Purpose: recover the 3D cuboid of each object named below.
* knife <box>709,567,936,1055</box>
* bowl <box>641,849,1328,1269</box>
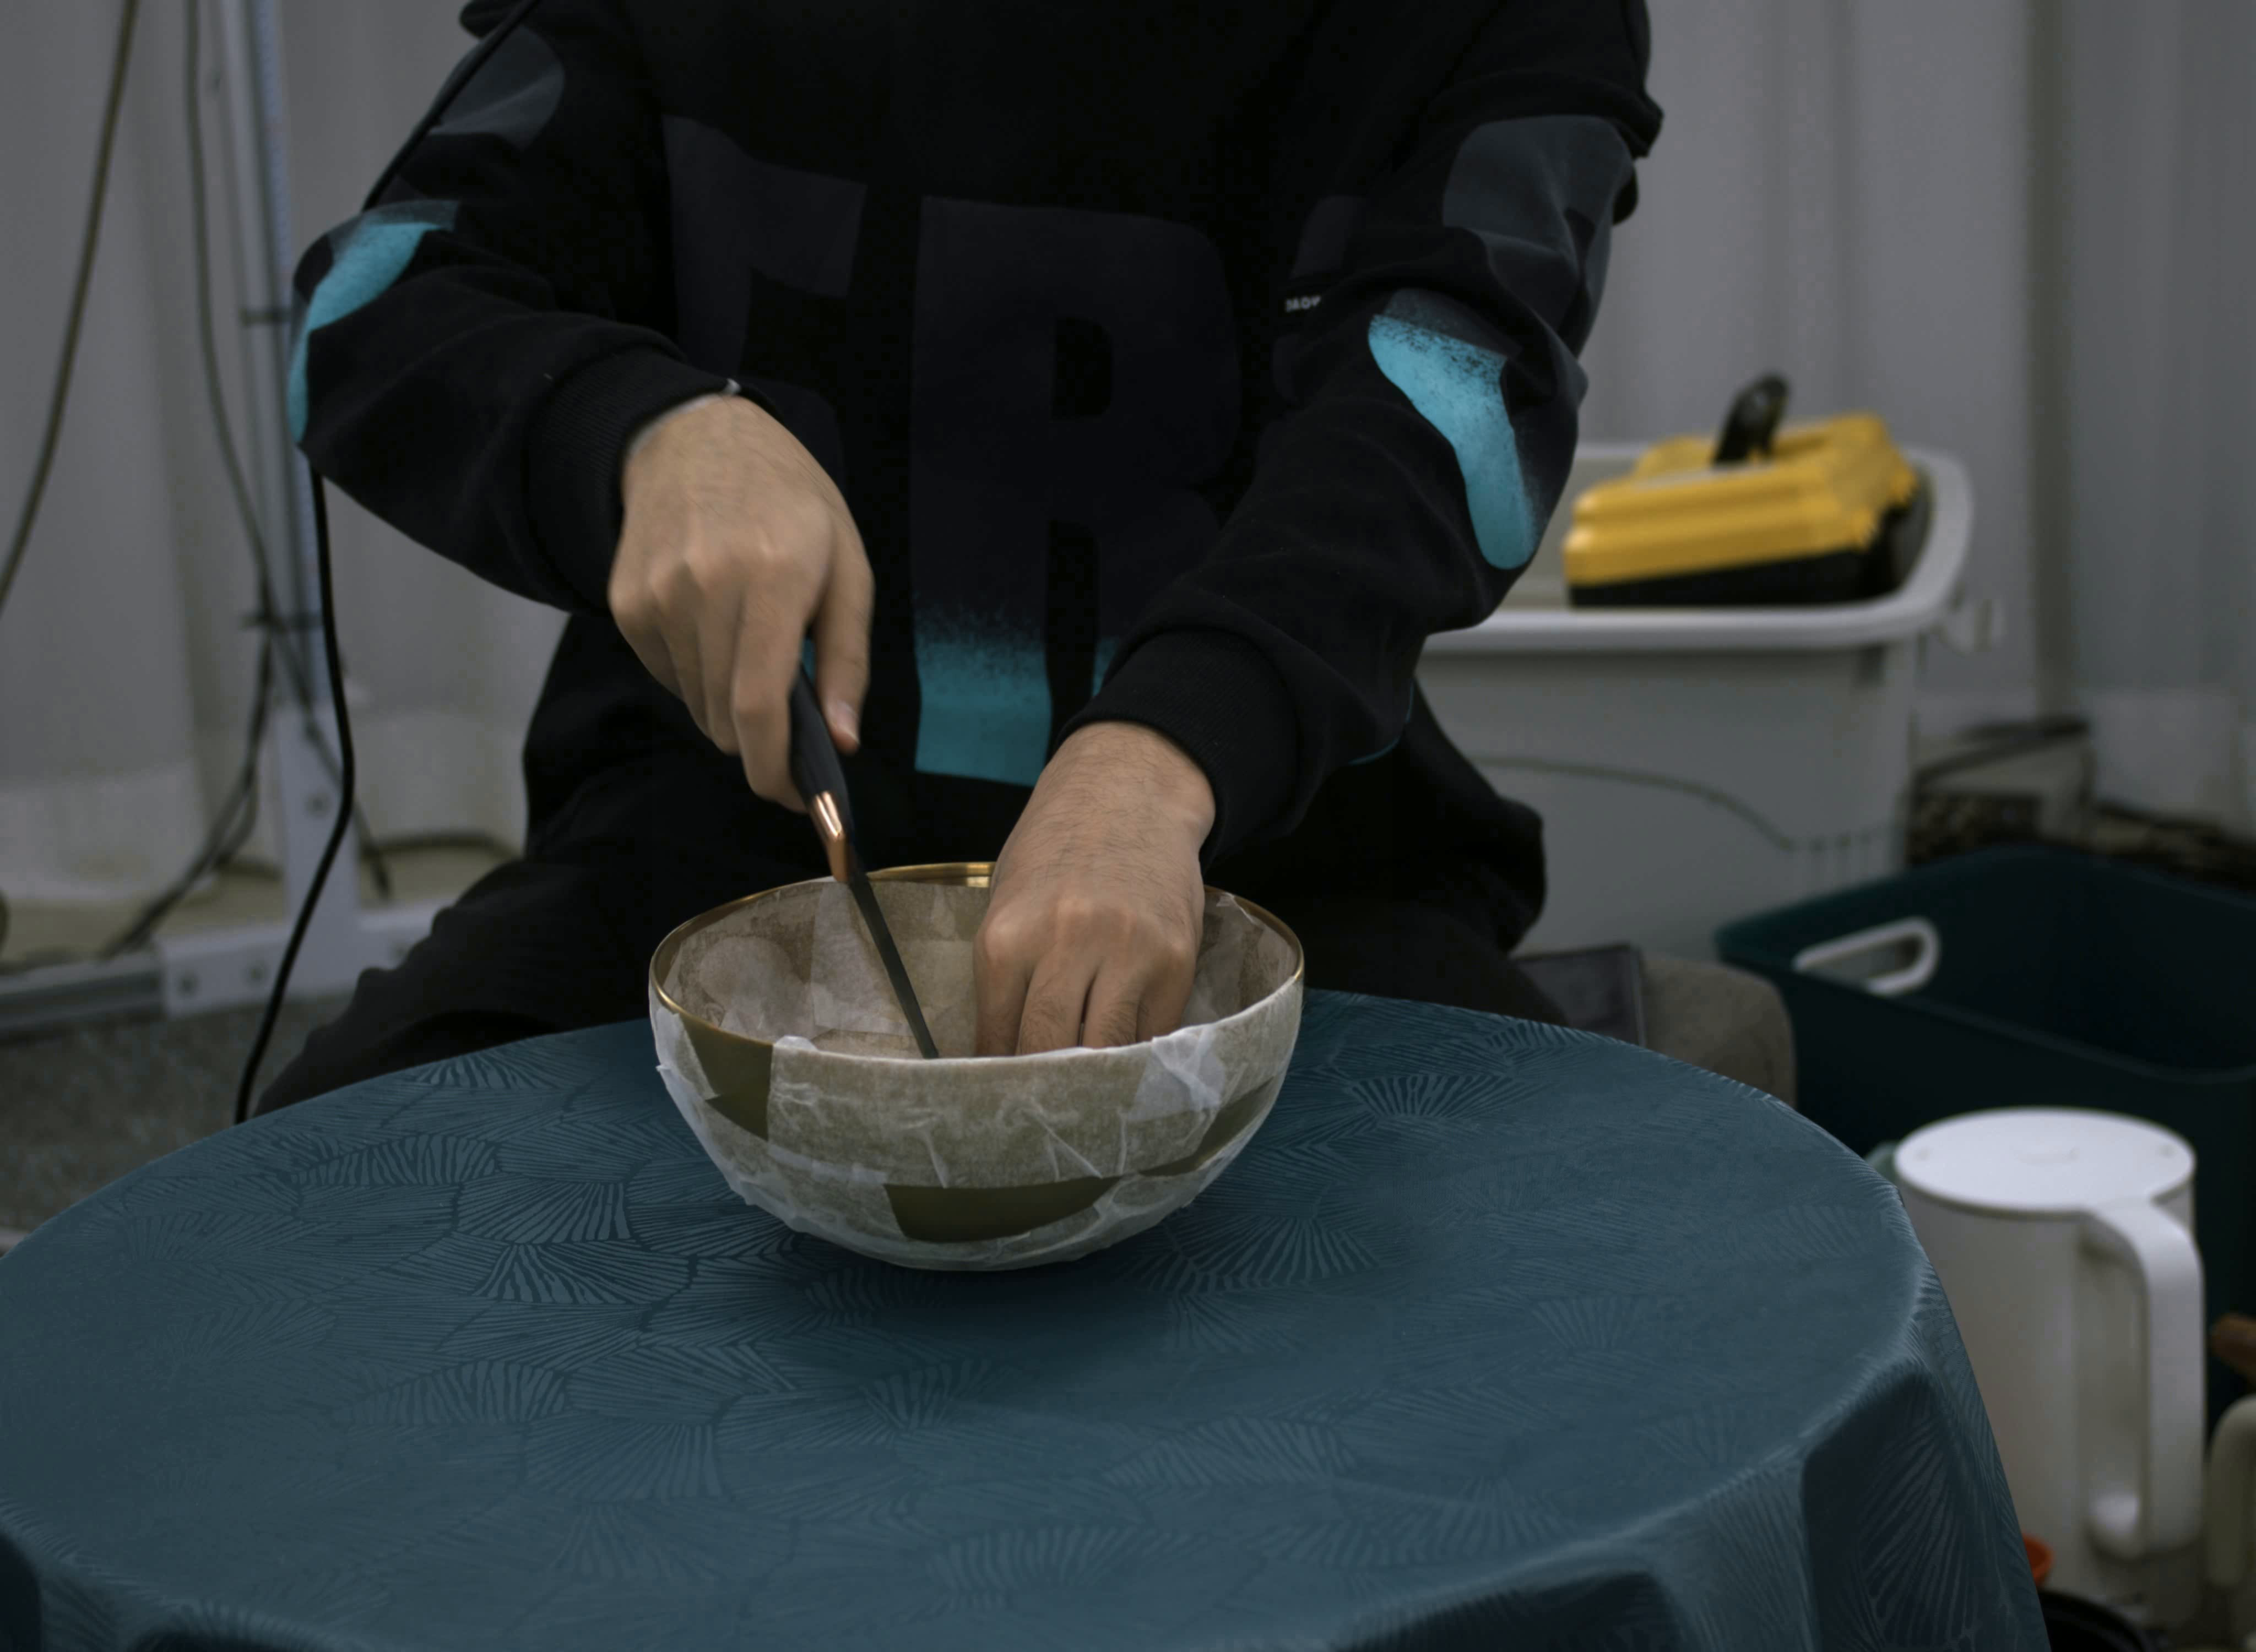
[{"bbox_3d":[-0.089,0.007,1.694,0.017,0.026,0.229,-12,54,-18],"label":"knife"},{"bbox_3d":[-0.044,0.079,1.670,0.214,0.094,0.216,-2,16,0],"label":"bowl"}]
